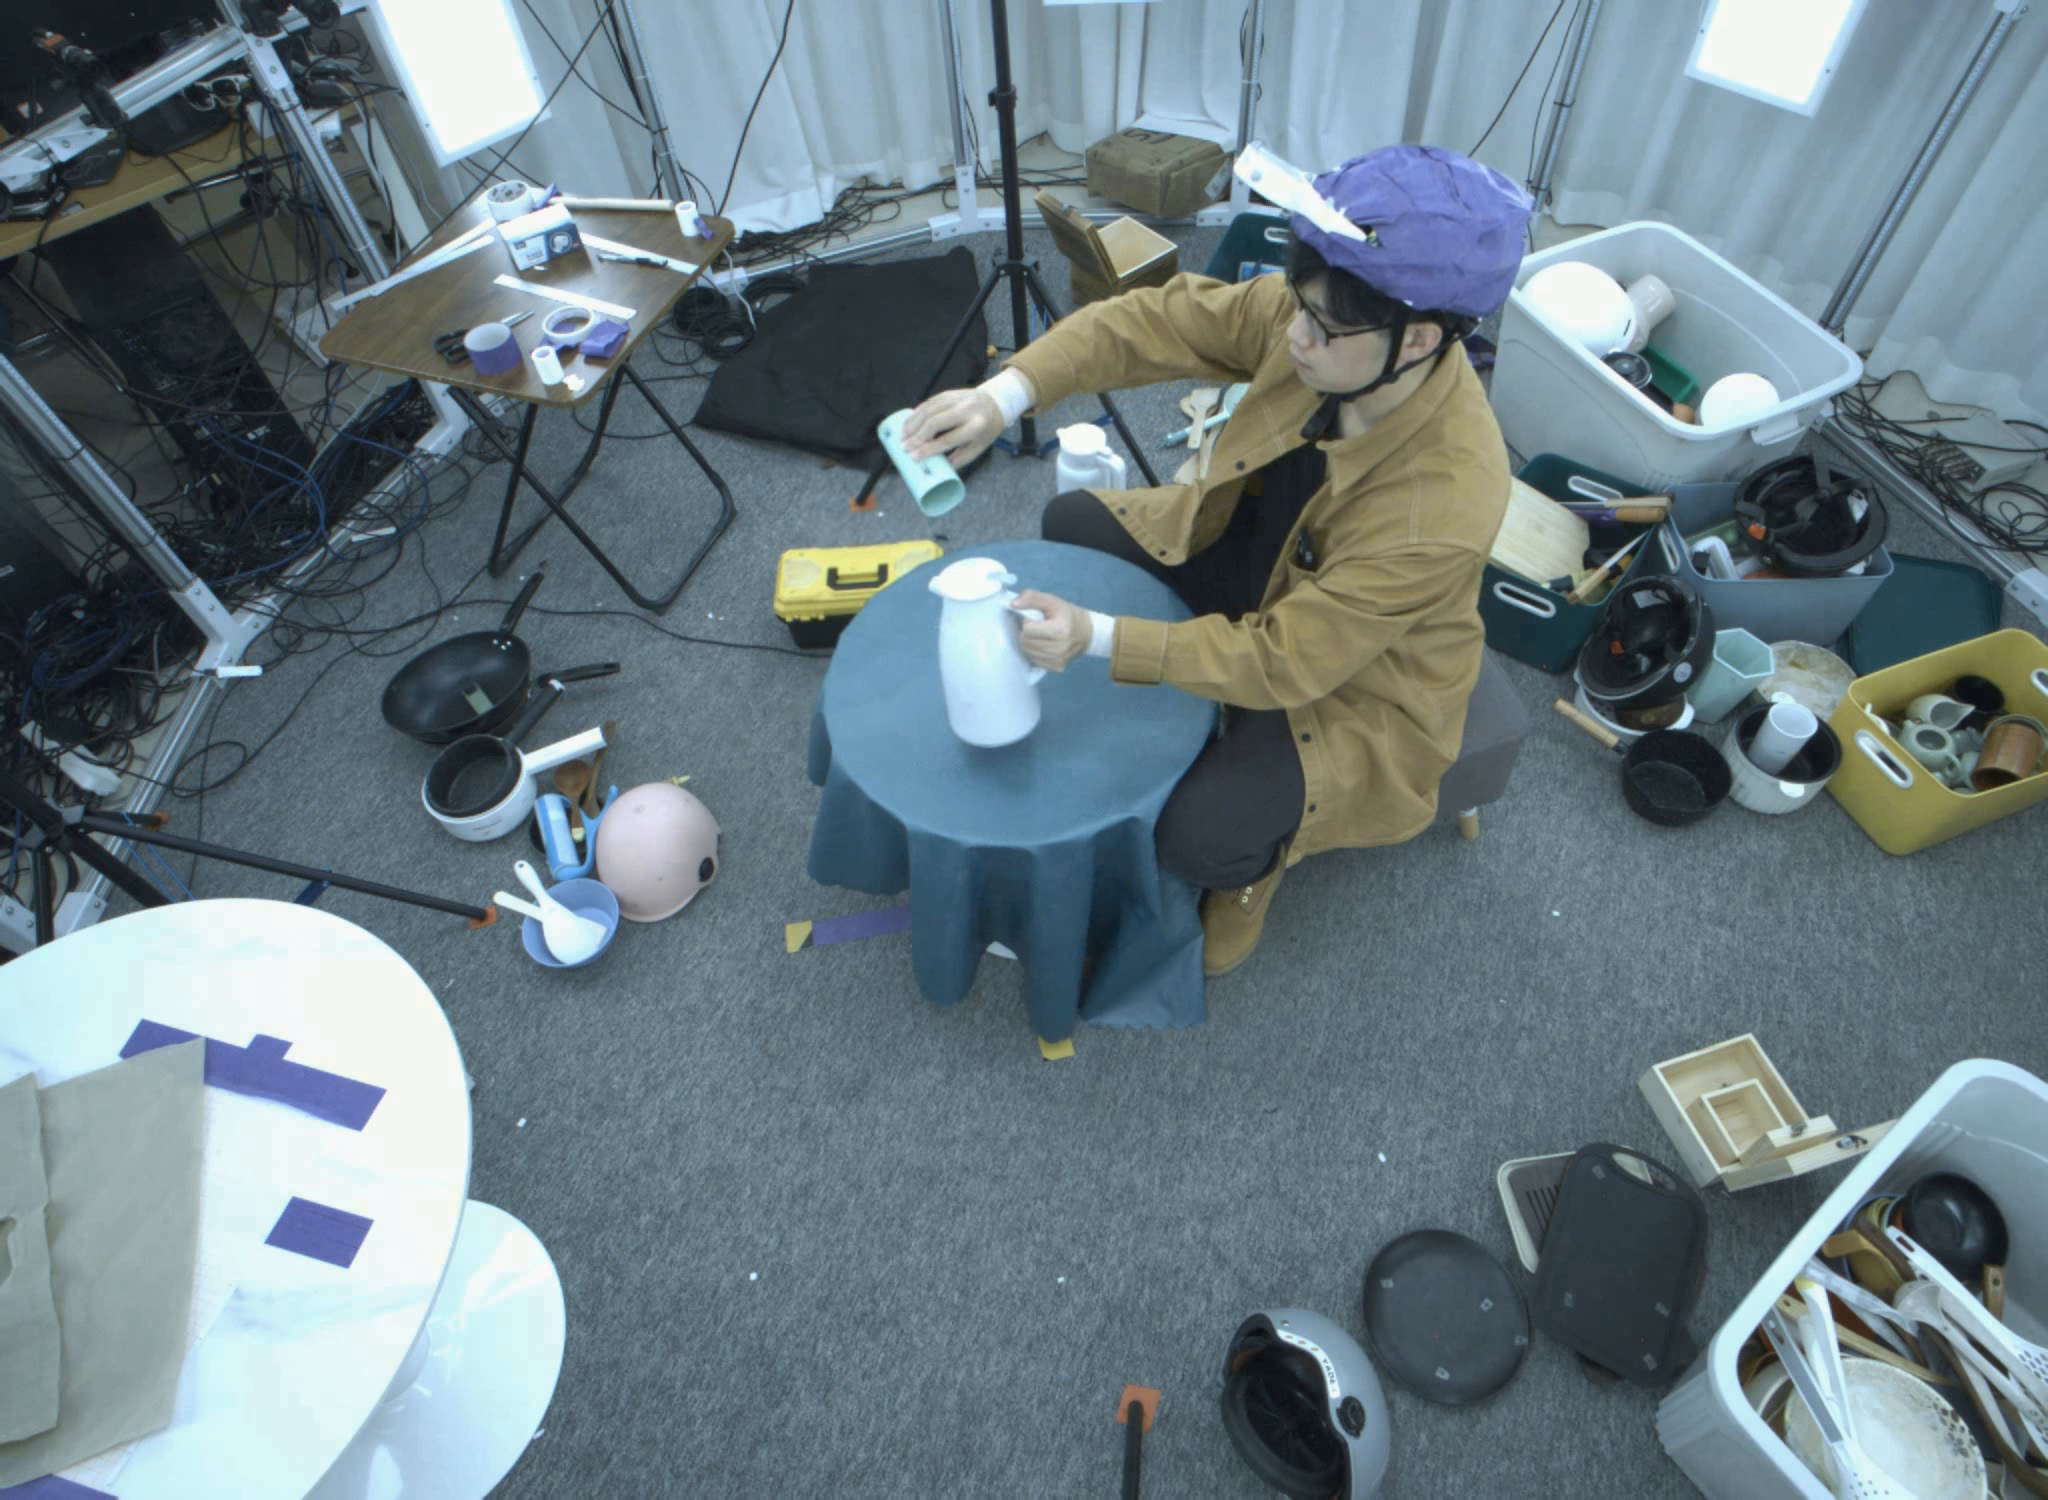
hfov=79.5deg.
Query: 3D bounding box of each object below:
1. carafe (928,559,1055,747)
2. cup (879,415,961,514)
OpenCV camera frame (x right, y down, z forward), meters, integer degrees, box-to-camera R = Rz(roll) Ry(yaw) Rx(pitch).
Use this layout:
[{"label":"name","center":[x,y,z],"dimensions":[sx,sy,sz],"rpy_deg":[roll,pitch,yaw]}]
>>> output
[{"label":"carafe","center":[-0.037,-0.134,1.652],"dimensions":[0.165,0.252,0.132],"rpy_deg":[12,49,18]},{"label":"cup","center":[-0.138,-0.375,1.571],"dimensions":[0.067,0.067,0.130],"rpy_deg":[-25,66,-14]}]
